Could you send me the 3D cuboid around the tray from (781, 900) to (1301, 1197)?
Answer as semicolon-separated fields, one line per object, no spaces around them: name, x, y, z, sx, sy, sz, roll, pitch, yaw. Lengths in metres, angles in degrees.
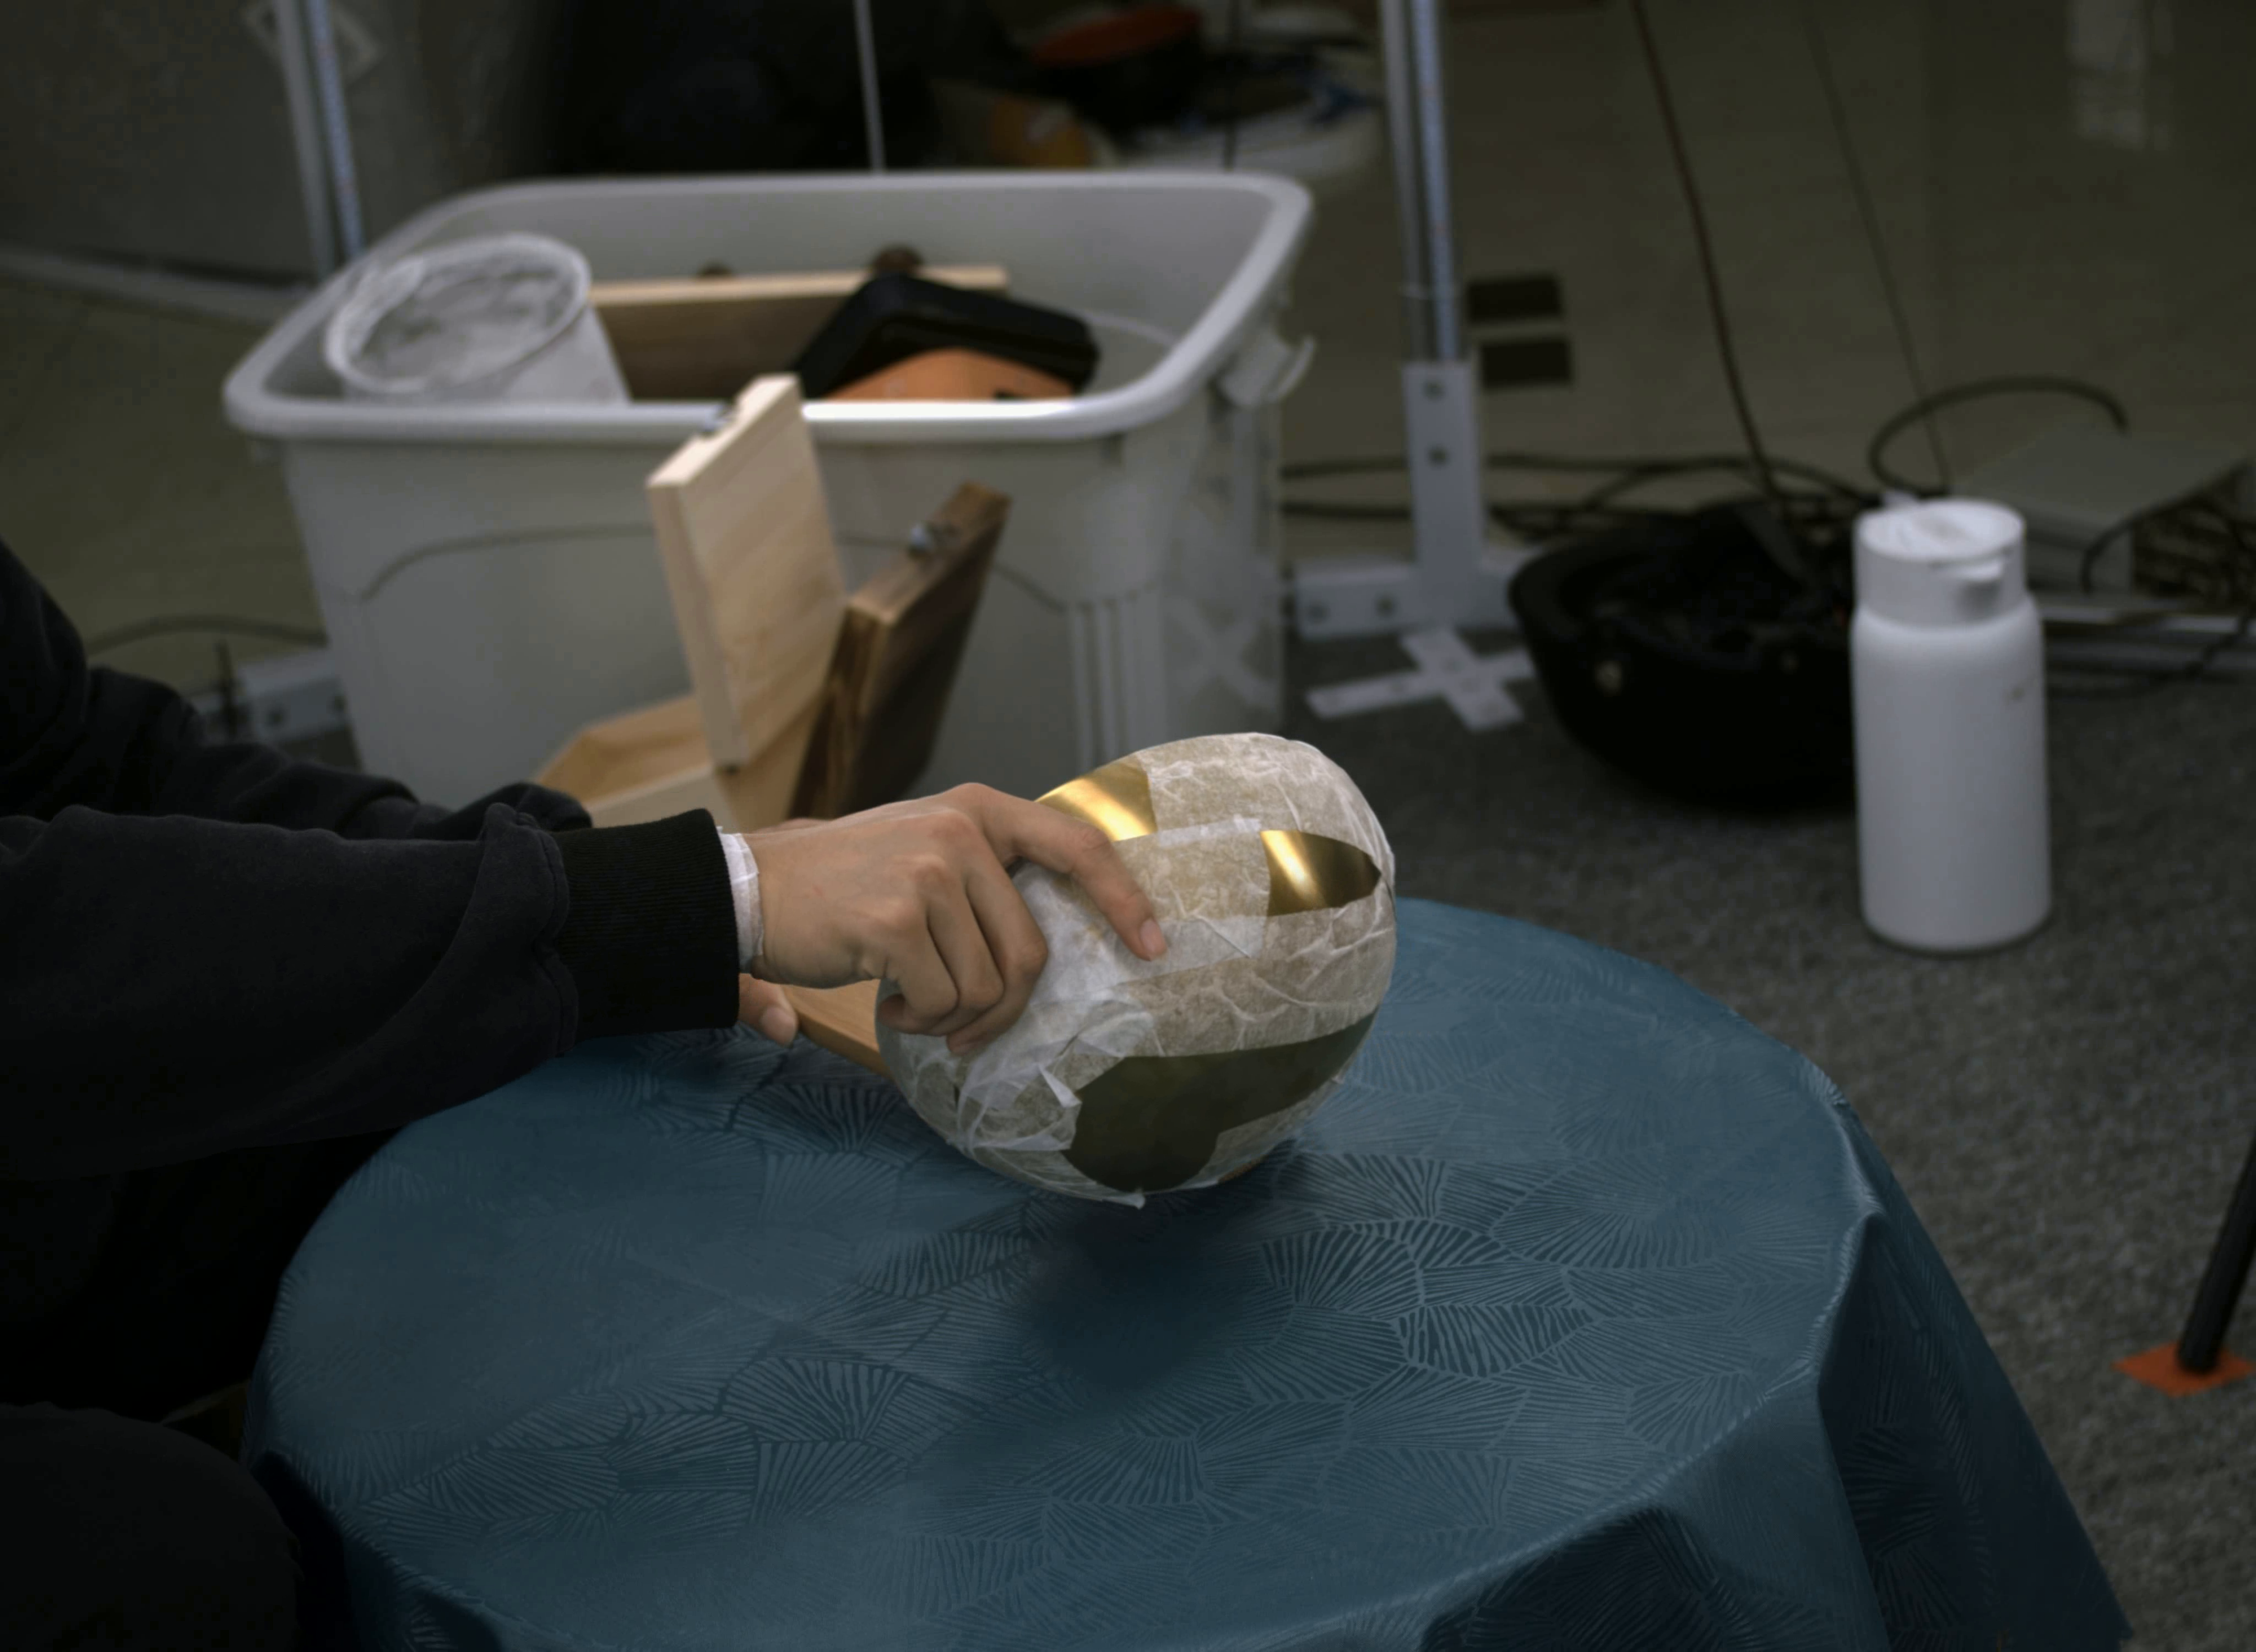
tray;-0.035;0.086;2.211;0.229;0.021;0.100;25;42;29

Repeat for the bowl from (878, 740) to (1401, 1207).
bowl;0.016;0.074;2.060;0.214;0.219;0.093;-16;54;-21
